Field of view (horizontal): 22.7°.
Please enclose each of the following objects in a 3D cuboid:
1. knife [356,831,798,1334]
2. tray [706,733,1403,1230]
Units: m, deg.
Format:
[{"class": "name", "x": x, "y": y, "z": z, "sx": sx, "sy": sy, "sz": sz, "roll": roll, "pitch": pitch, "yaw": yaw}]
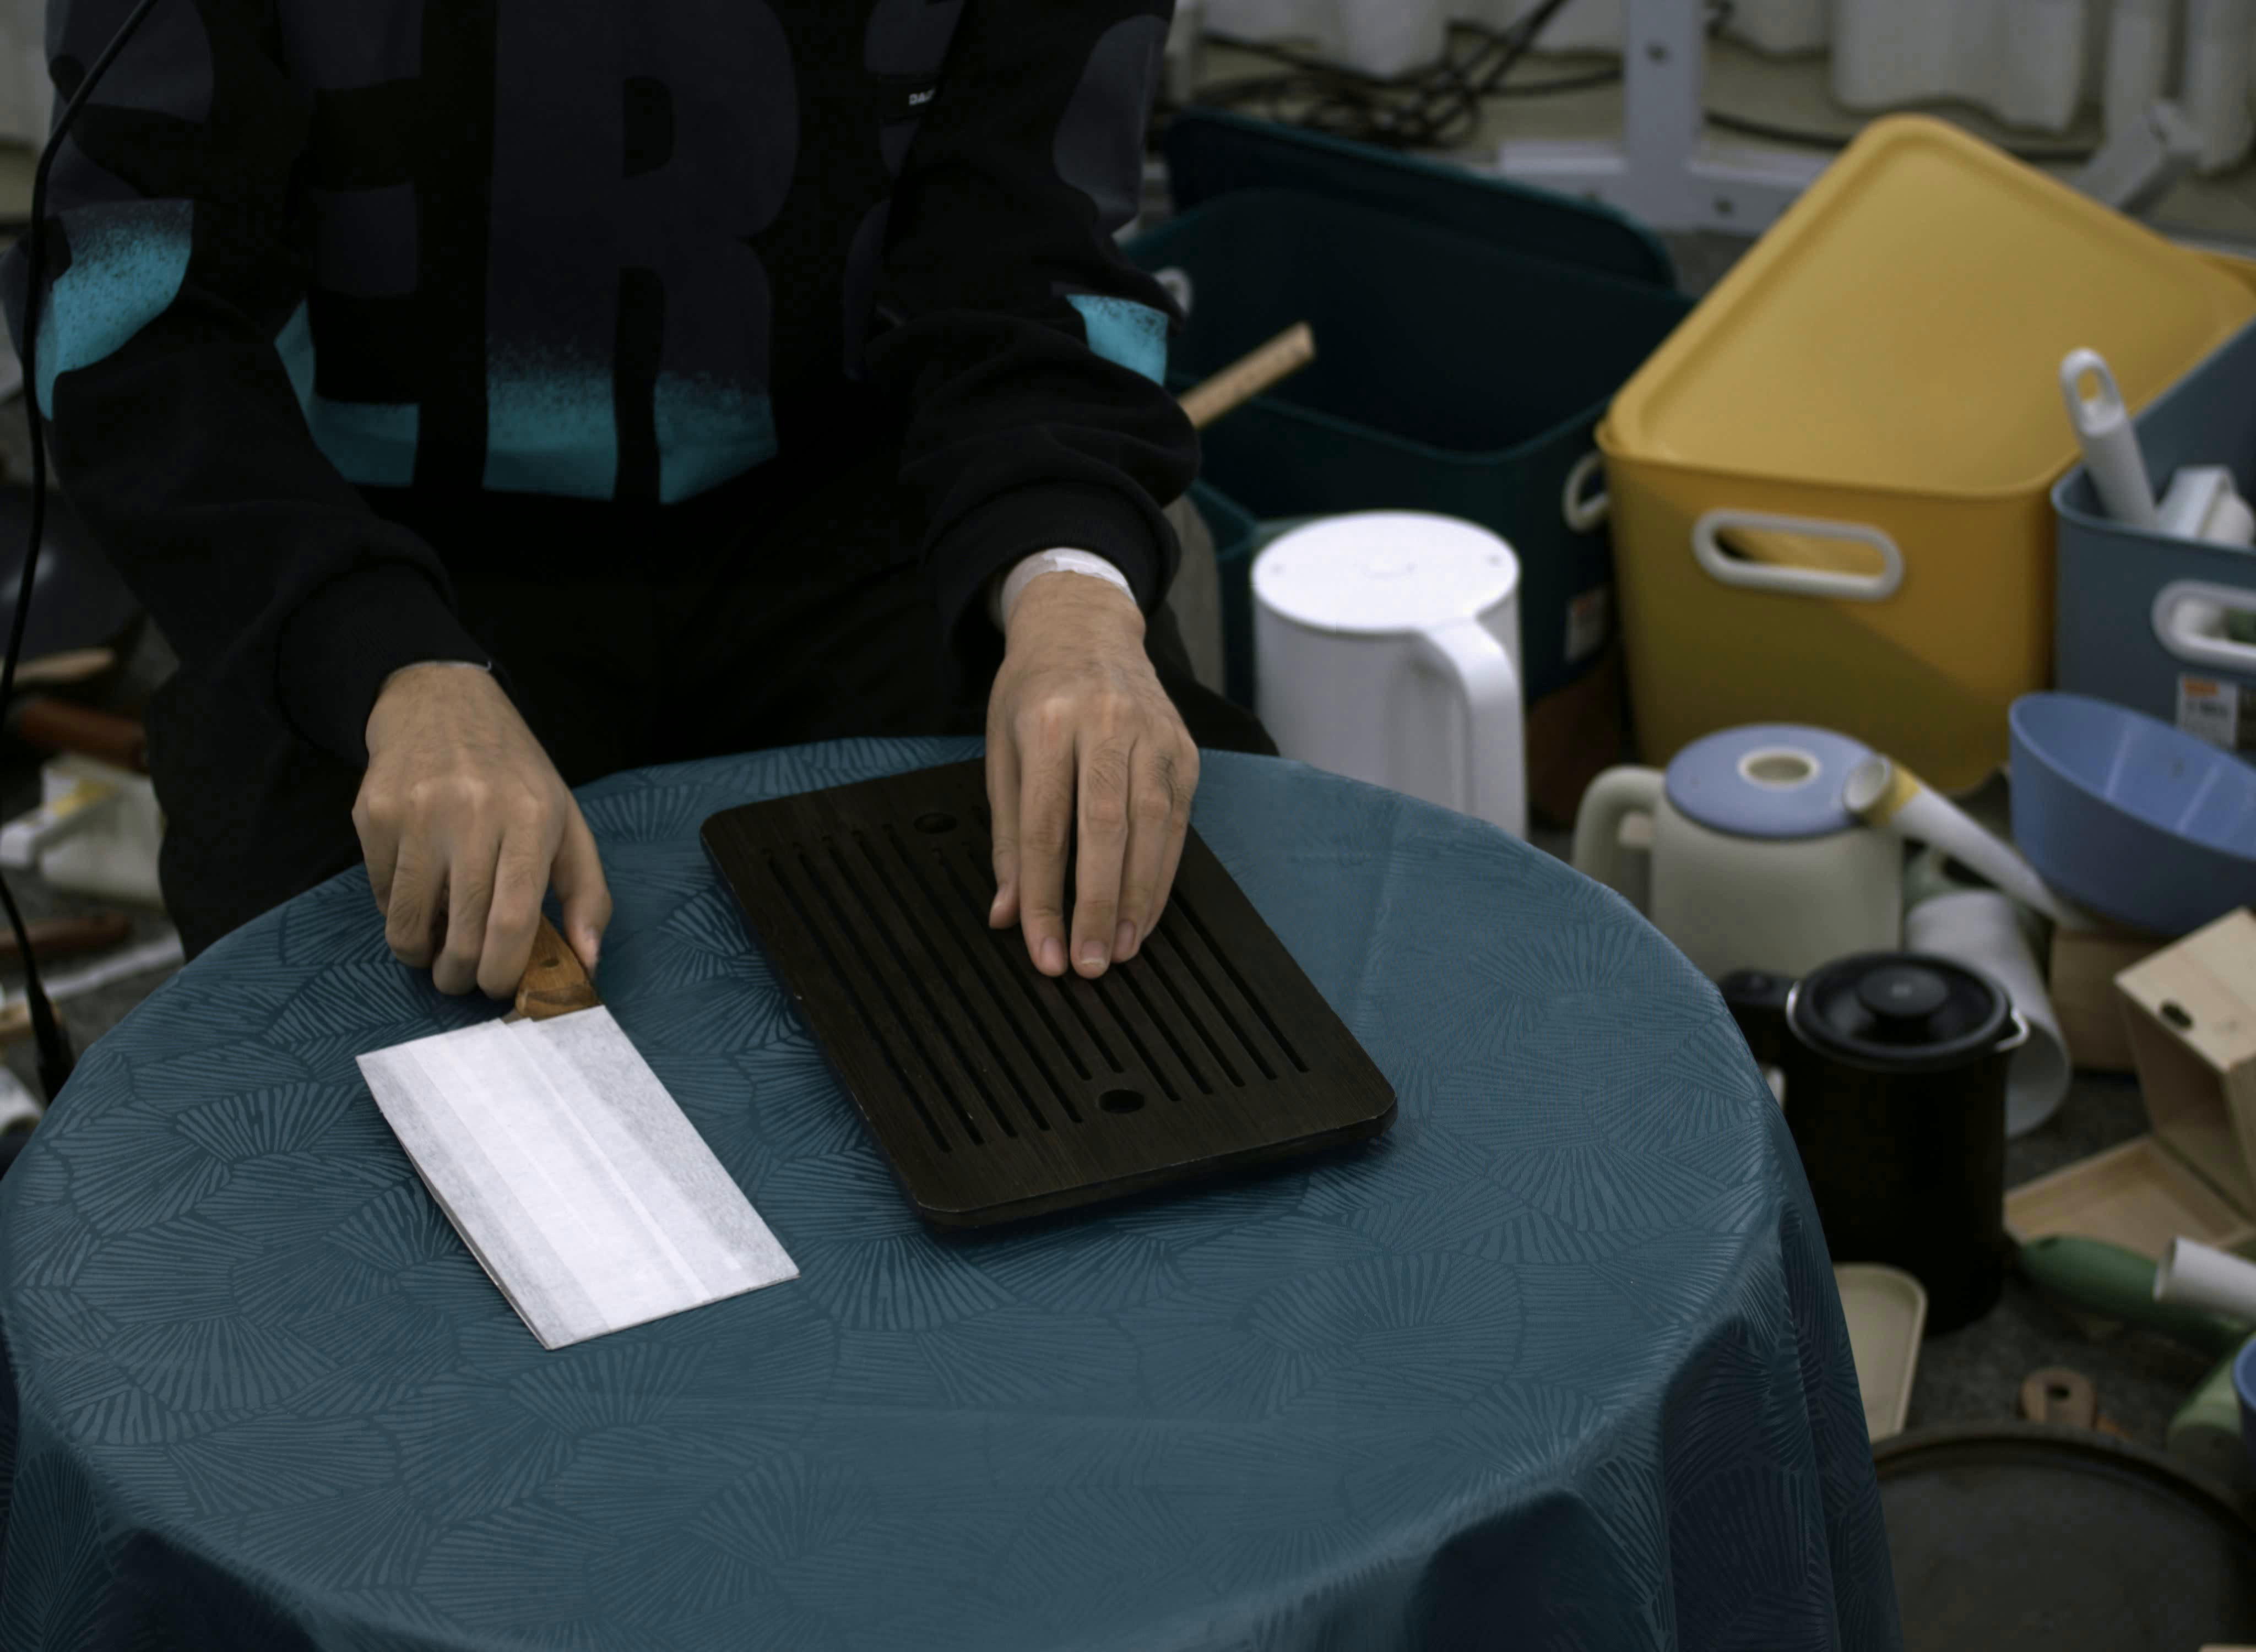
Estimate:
[{"class": "knife", "x": -0.210, "y": 0.087, "z": 1.925, "sx": 0.093, "sy": 0.021, "sz": 0.308, "roll": -15, "pitch": 34, "yaw": -21}, {"class": "tray", "x": -0.032, "y": 0.052, "z": 1.980, "sx": 0.170, "sy": 0.018, "sz": 0.309, "roll": -11, "pitch": 29, "yaw": -15}]
